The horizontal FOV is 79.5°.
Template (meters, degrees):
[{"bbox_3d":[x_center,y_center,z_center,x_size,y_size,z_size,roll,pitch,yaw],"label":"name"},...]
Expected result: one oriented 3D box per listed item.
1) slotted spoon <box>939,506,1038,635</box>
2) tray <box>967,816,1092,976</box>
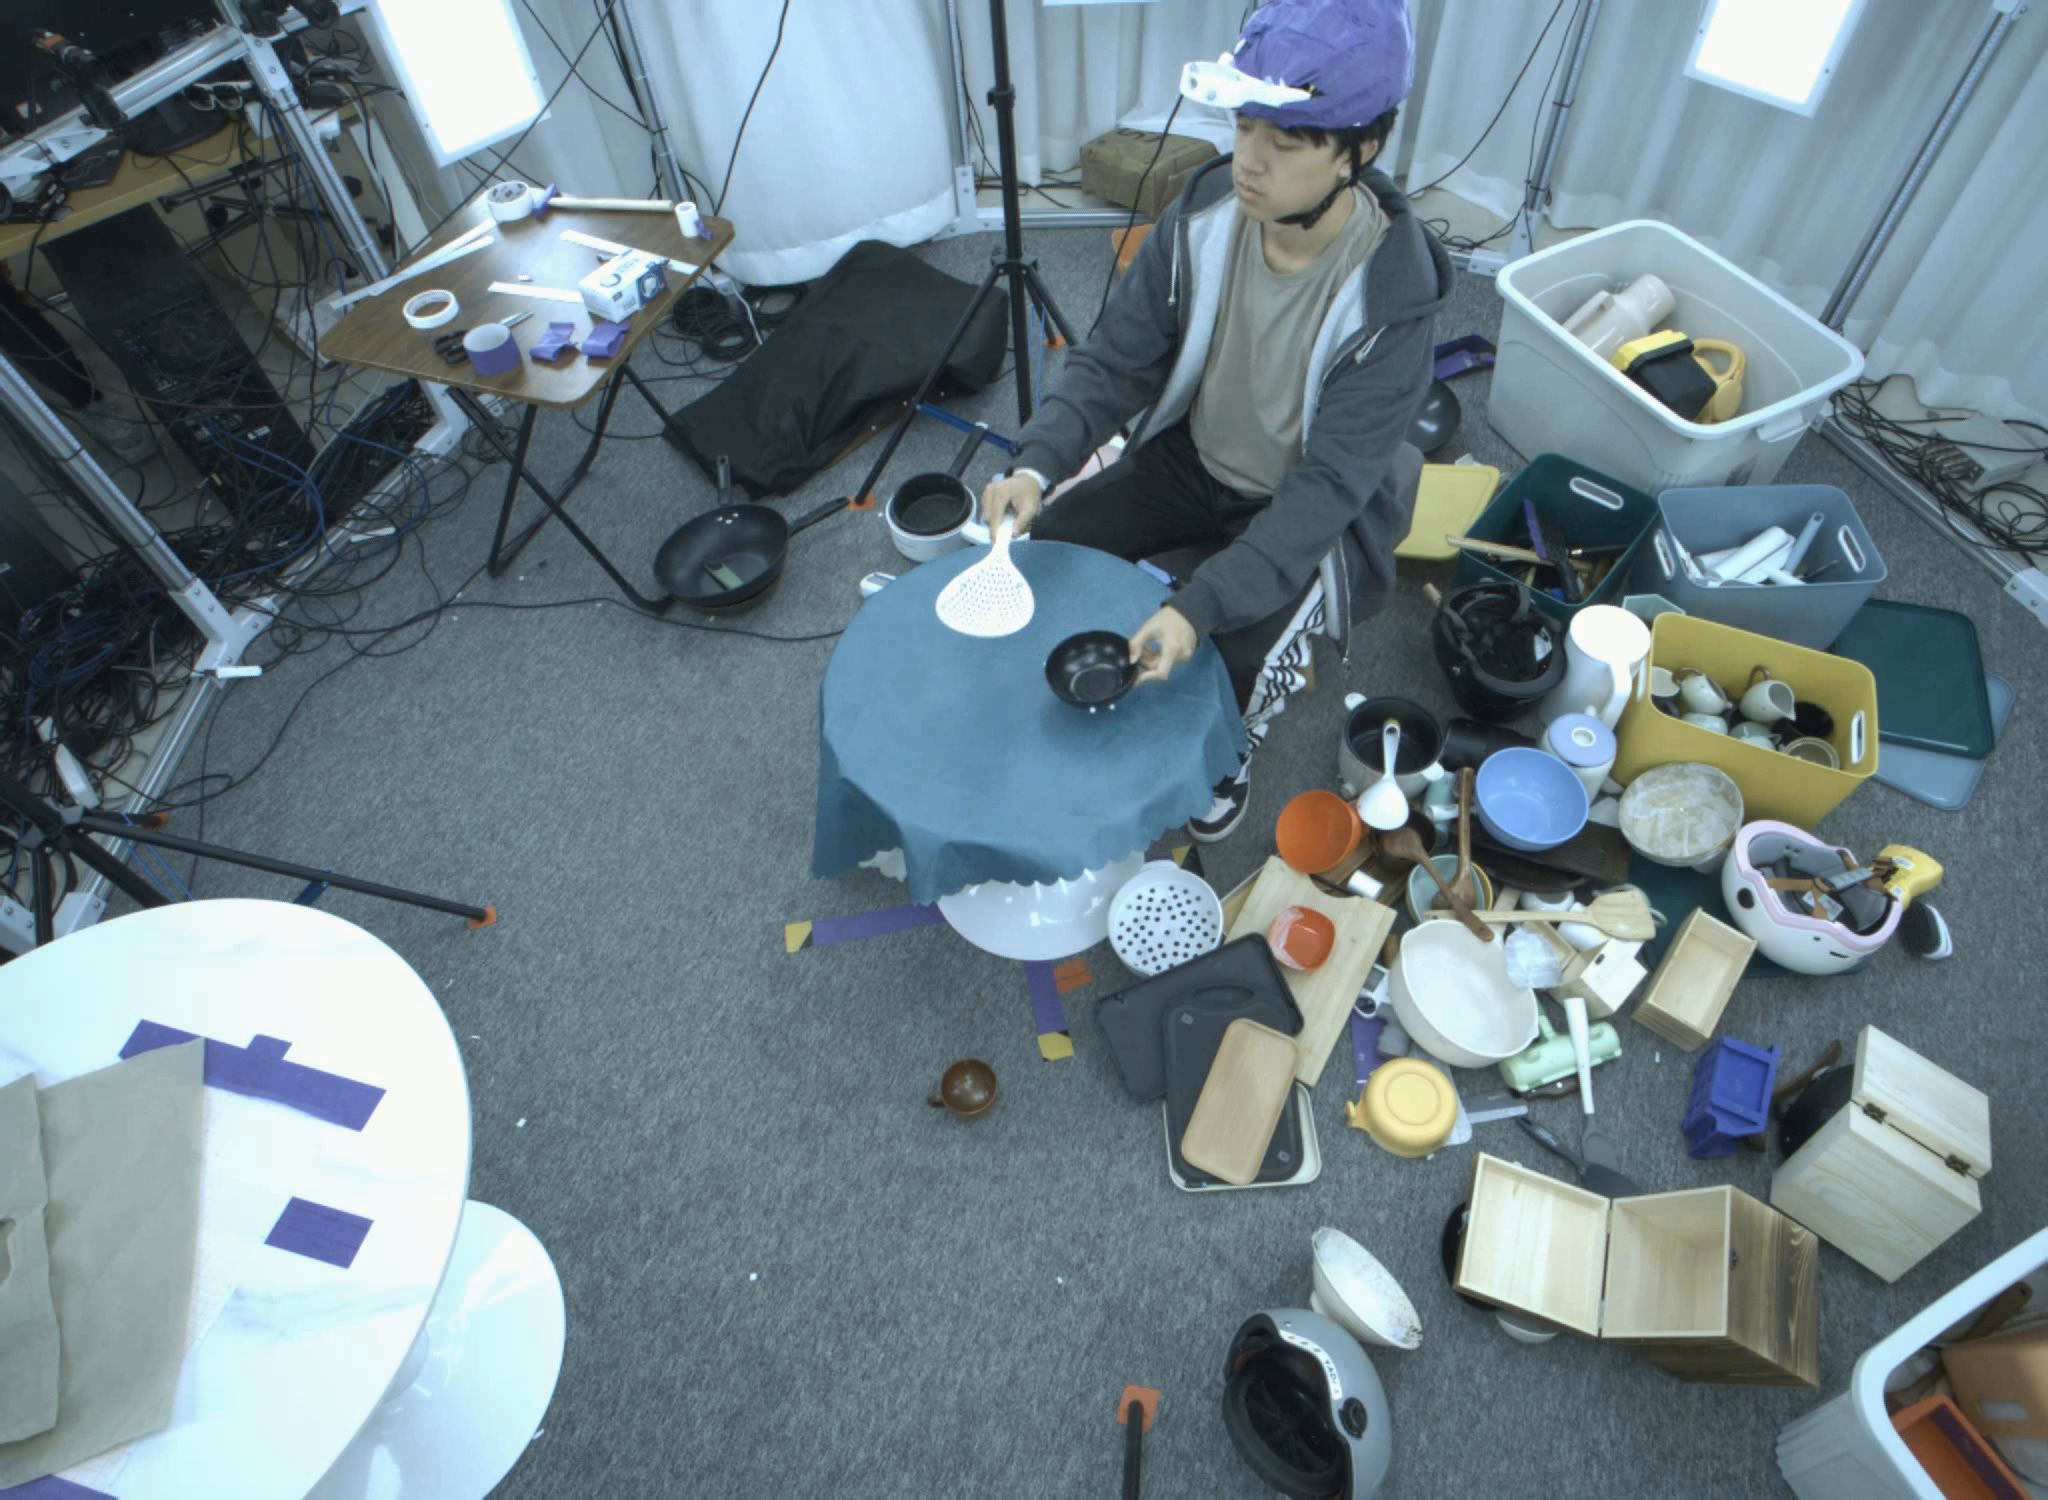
[{"bbox_3d":[-0.039,-0.273,1.791,0.136,0.051,0.345,4,47,3],"label":"slotted spoon"},{"bbox_3d":[0.007,0.266,2.278,0.192,0.028,0.296,-9,56,-4],"label":"tray"}]
